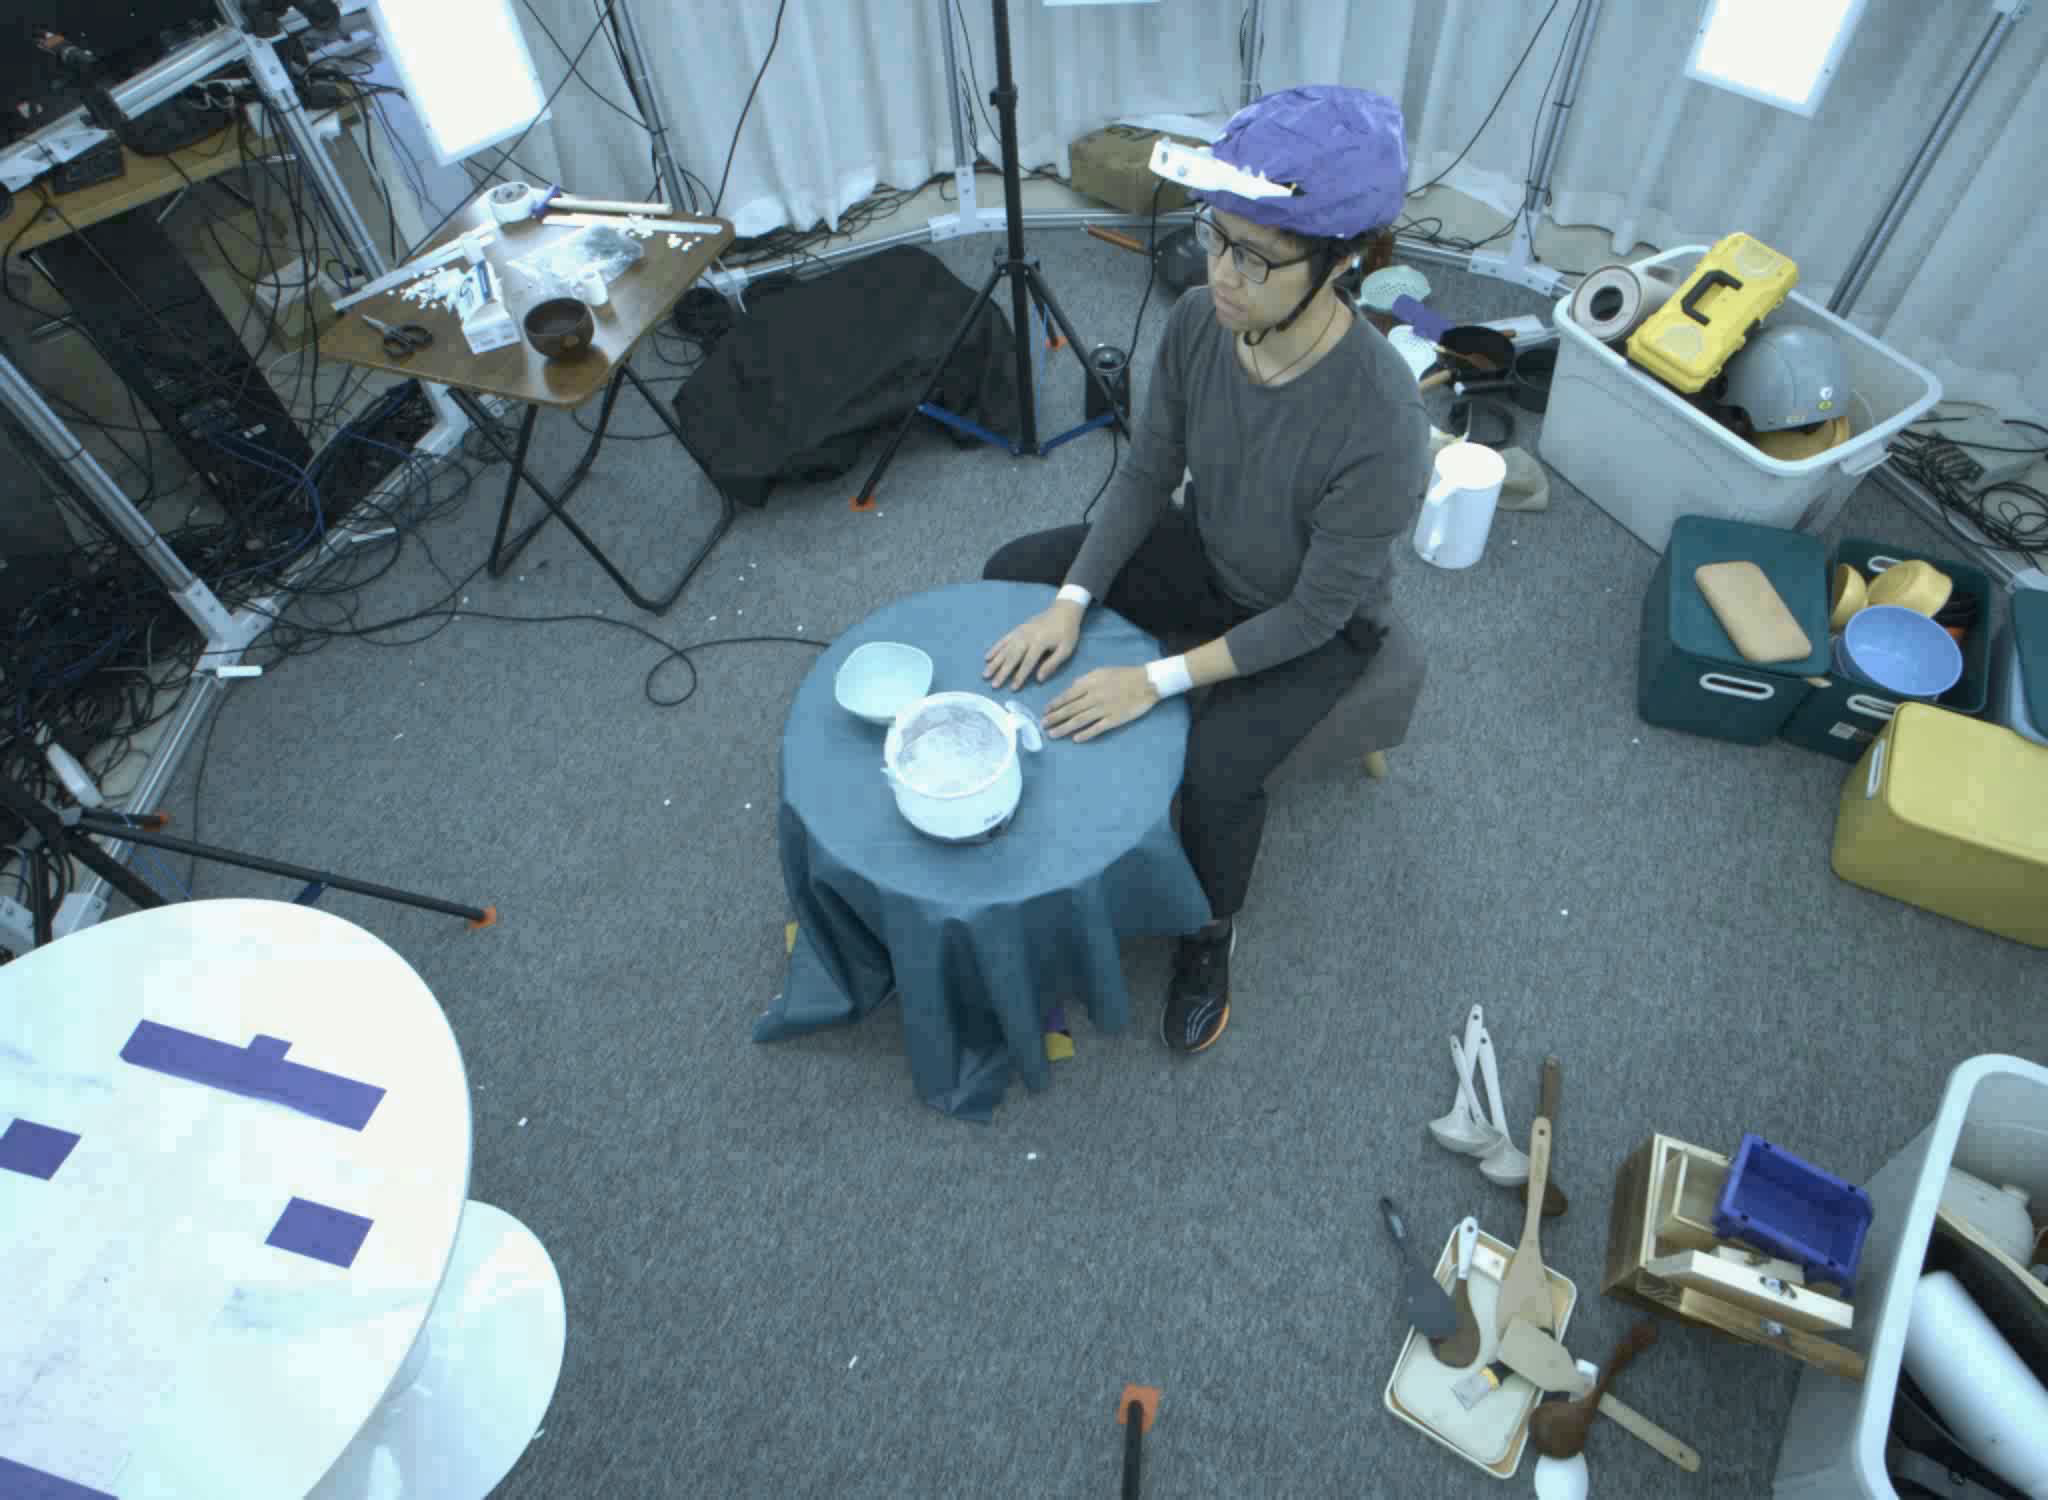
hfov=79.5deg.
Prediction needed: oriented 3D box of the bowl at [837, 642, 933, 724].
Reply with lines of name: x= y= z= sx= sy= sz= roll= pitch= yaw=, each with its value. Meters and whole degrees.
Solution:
bowl: x=-0.204 y=-0.090 z=1.830 sx=0.151 sy=0.059 sz=0.150 roll=-1 pitch=56 yaw=2

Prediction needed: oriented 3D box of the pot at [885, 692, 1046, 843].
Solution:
pot: x=-0.072 y=0.014 z=1.704 sx=0.235 sy=0.138 sz=0.175 roll=-33 pitch=59 yaw=-21
